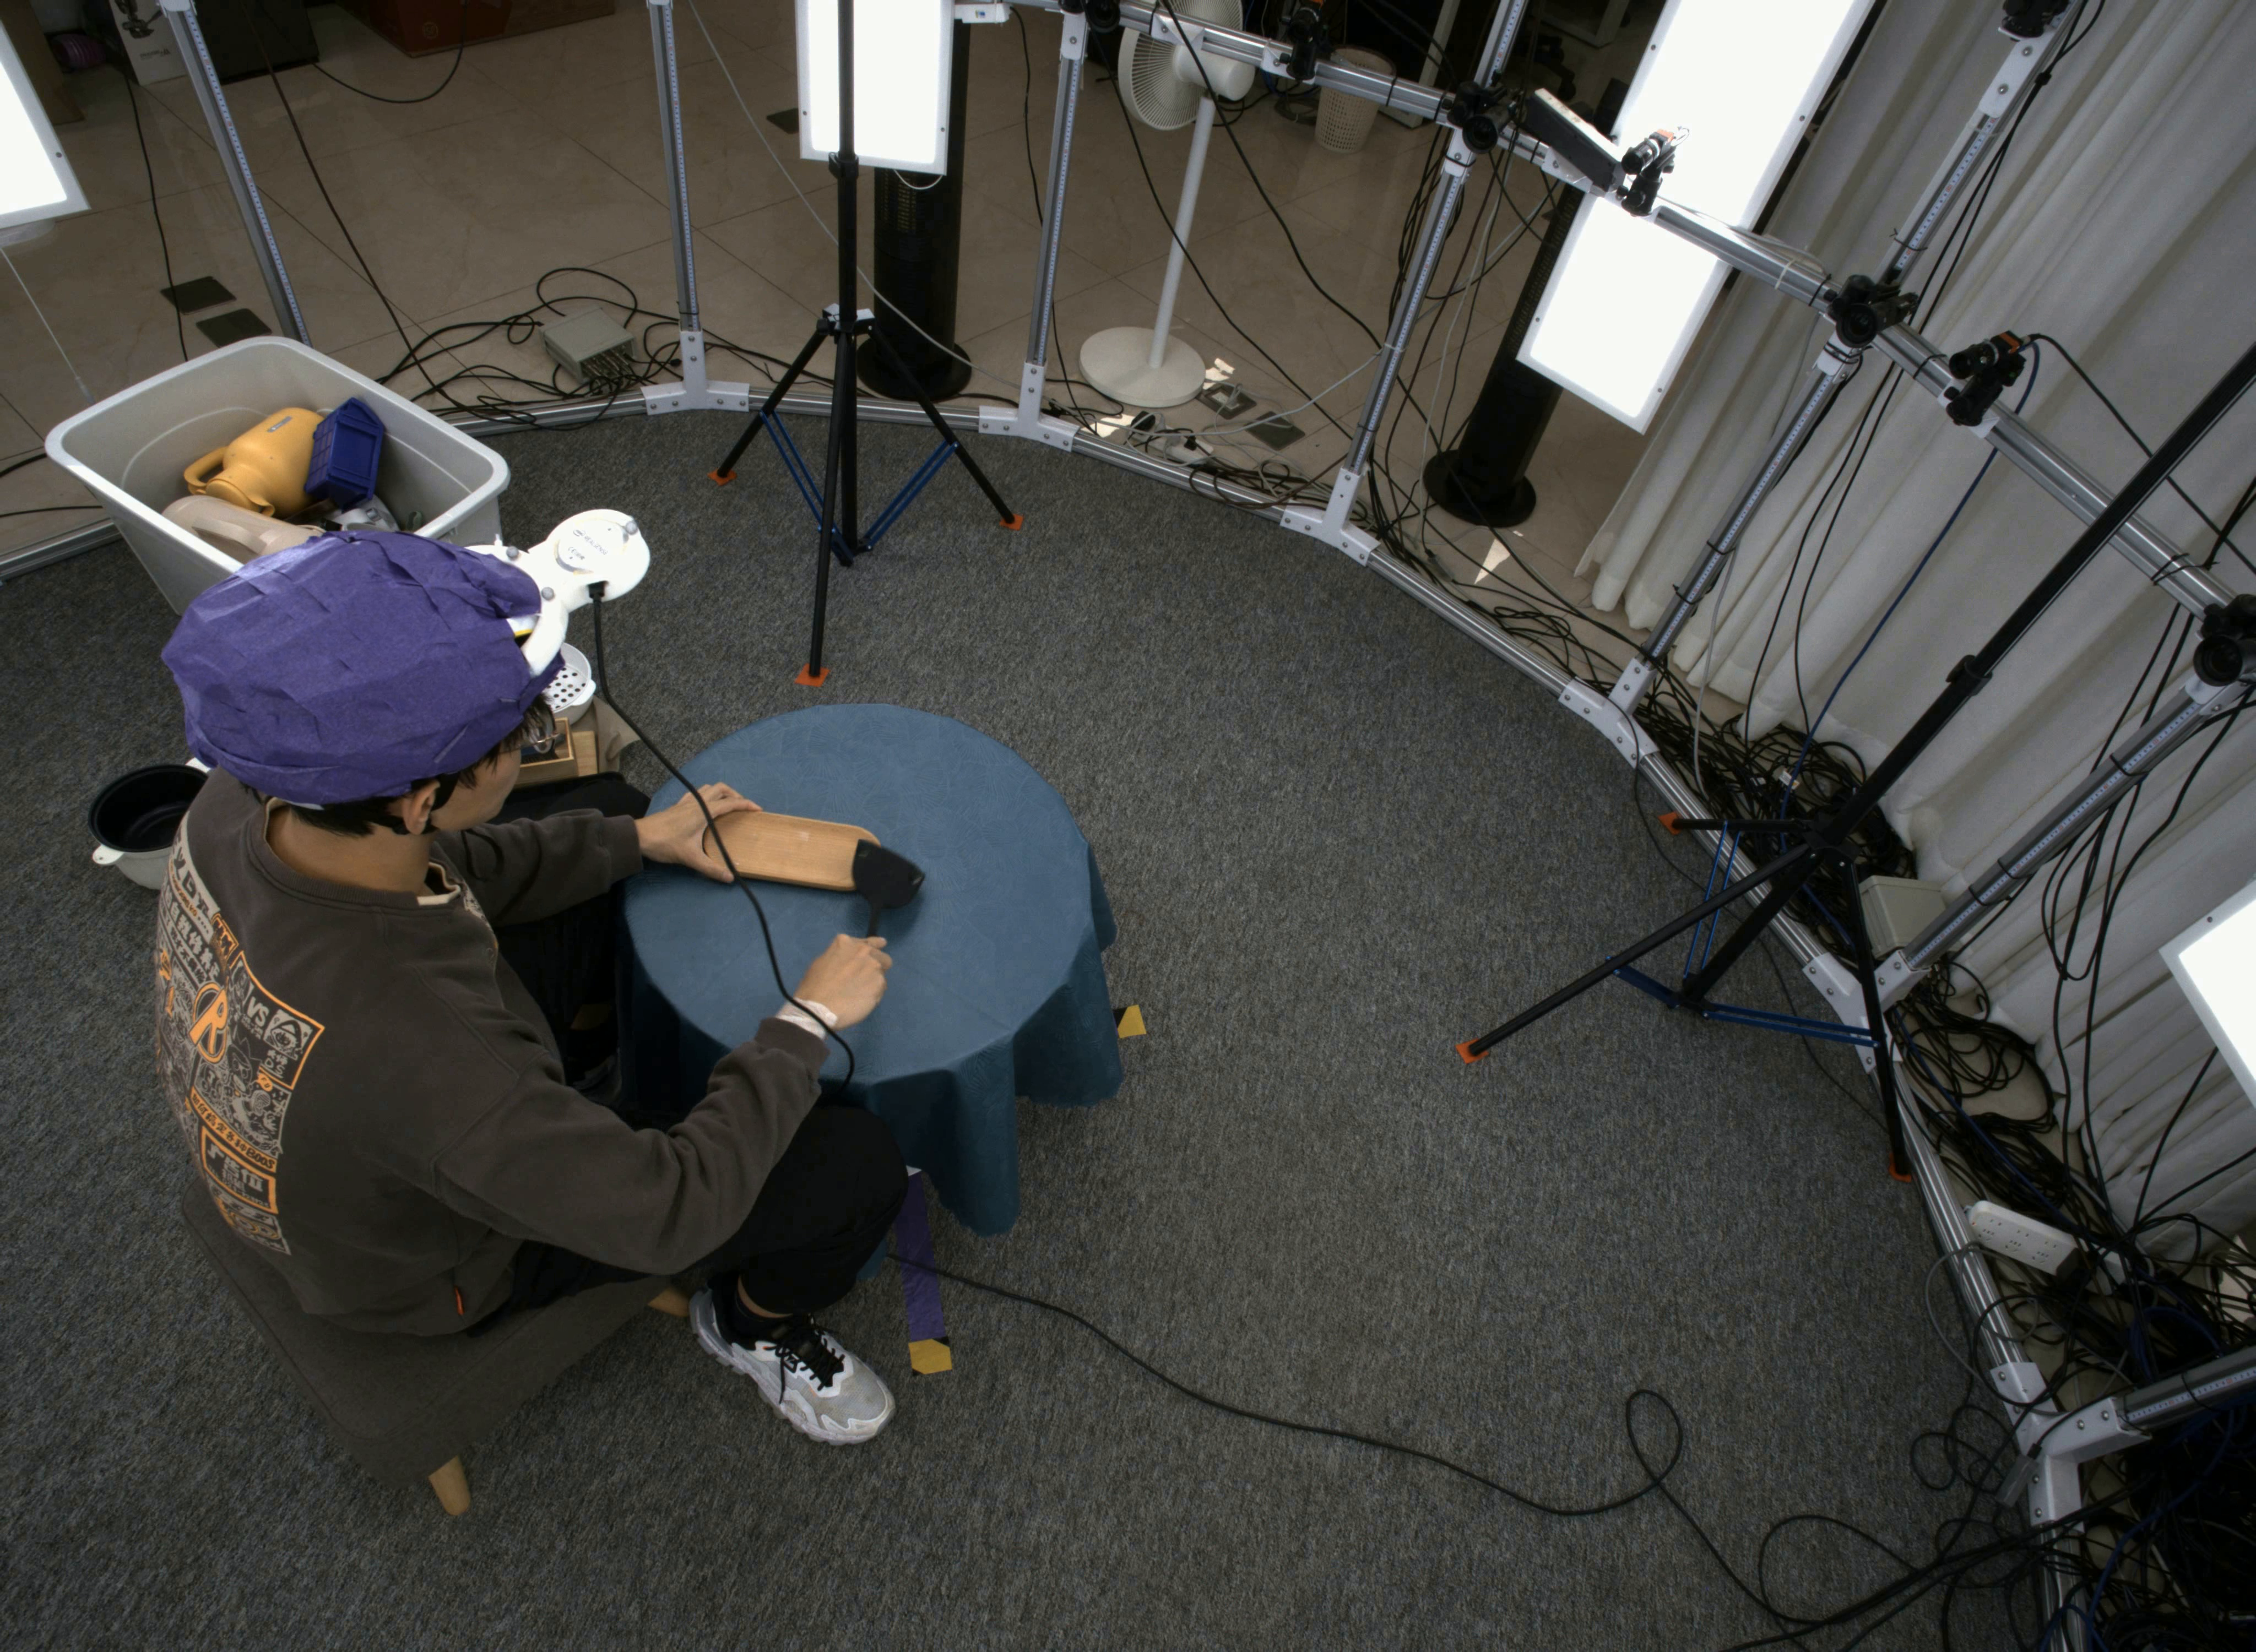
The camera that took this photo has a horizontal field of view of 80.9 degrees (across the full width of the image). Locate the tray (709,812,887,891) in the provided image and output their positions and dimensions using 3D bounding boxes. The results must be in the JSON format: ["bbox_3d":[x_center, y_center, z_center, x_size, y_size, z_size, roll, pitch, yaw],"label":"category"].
[{"bbox_3d":[-0.431,0.033,1.699,0.231,0.020,0.100,9,53,-11],"label":"tray"}]

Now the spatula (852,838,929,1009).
[{"bbox_3d":[-0.299,0.115,1.558,0.101,0.040,0.318,28,21,-17],"label":"spatula"}]
